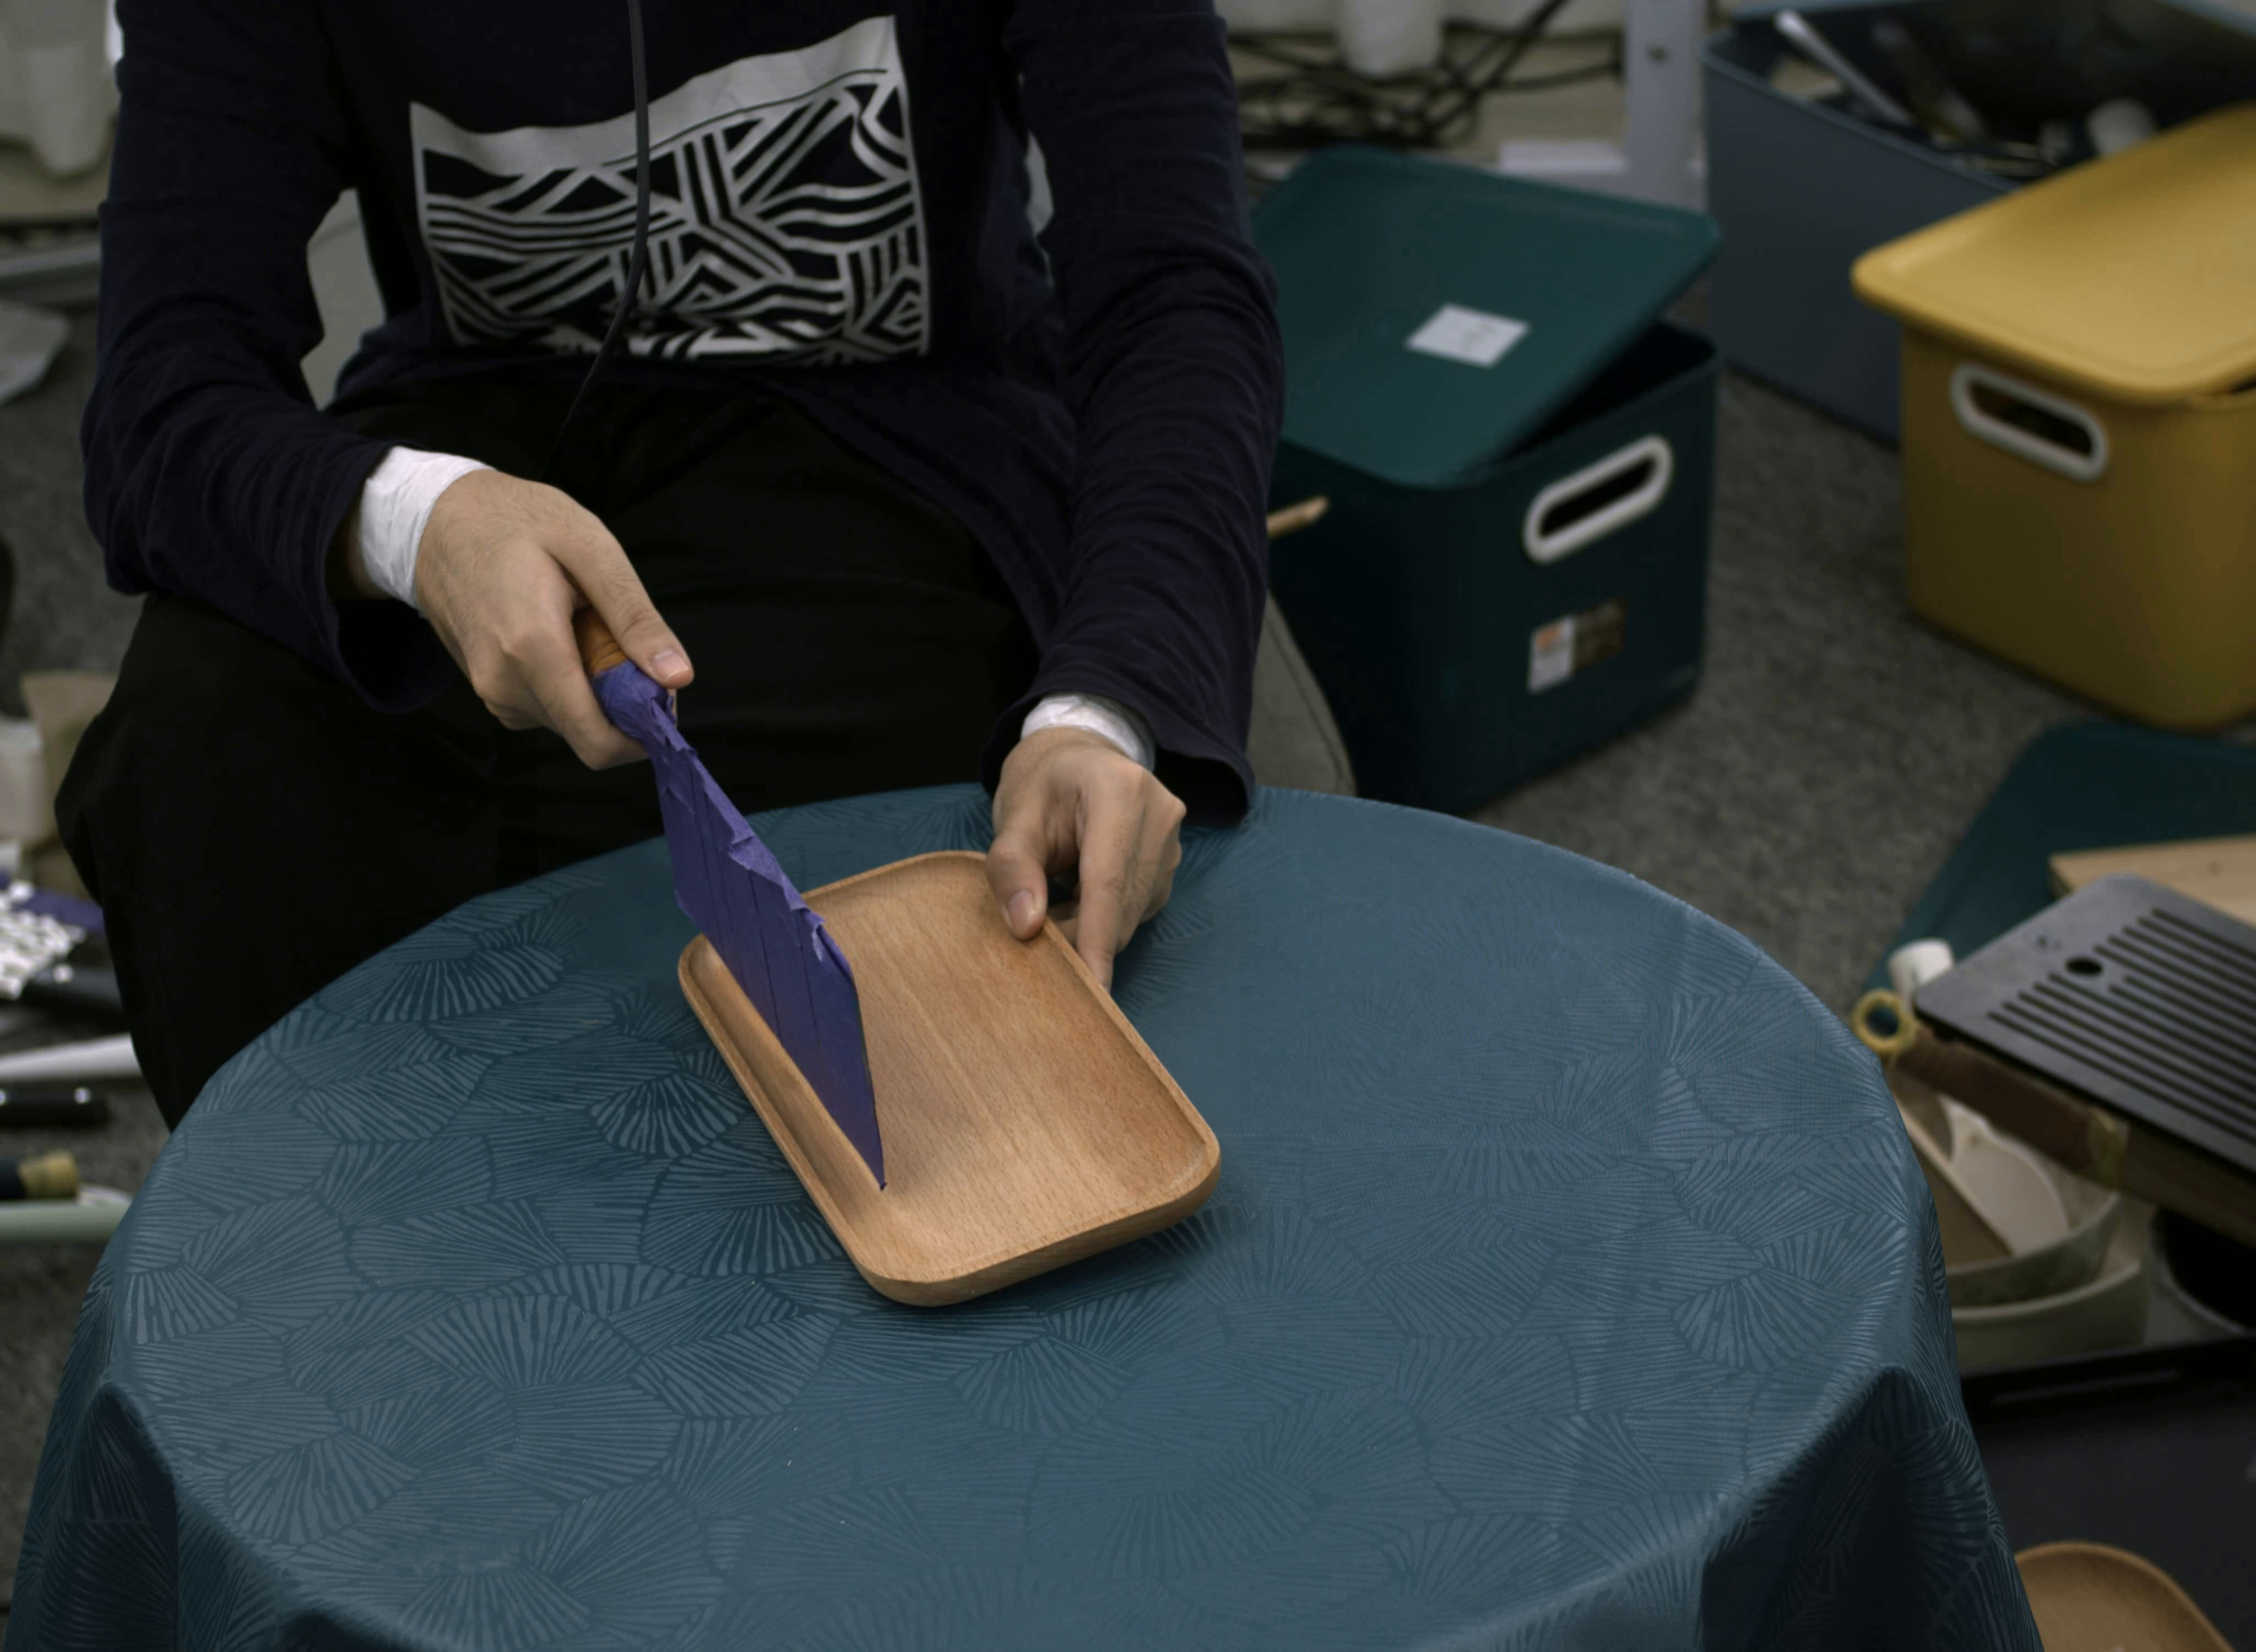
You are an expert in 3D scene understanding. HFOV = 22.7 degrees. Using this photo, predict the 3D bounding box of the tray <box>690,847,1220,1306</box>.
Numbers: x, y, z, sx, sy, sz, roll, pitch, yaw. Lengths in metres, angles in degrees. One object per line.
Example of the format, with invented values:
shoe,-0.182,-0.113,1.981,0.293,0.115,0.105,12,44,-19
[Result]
tray,-0.062,0.082,1.906,0.131,0.022,0.253,-15,30,-13

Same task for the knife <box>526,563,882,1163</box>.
knife,-0.148,0.013,1.942,0.032,0.102,0.318,-15,32,-15
